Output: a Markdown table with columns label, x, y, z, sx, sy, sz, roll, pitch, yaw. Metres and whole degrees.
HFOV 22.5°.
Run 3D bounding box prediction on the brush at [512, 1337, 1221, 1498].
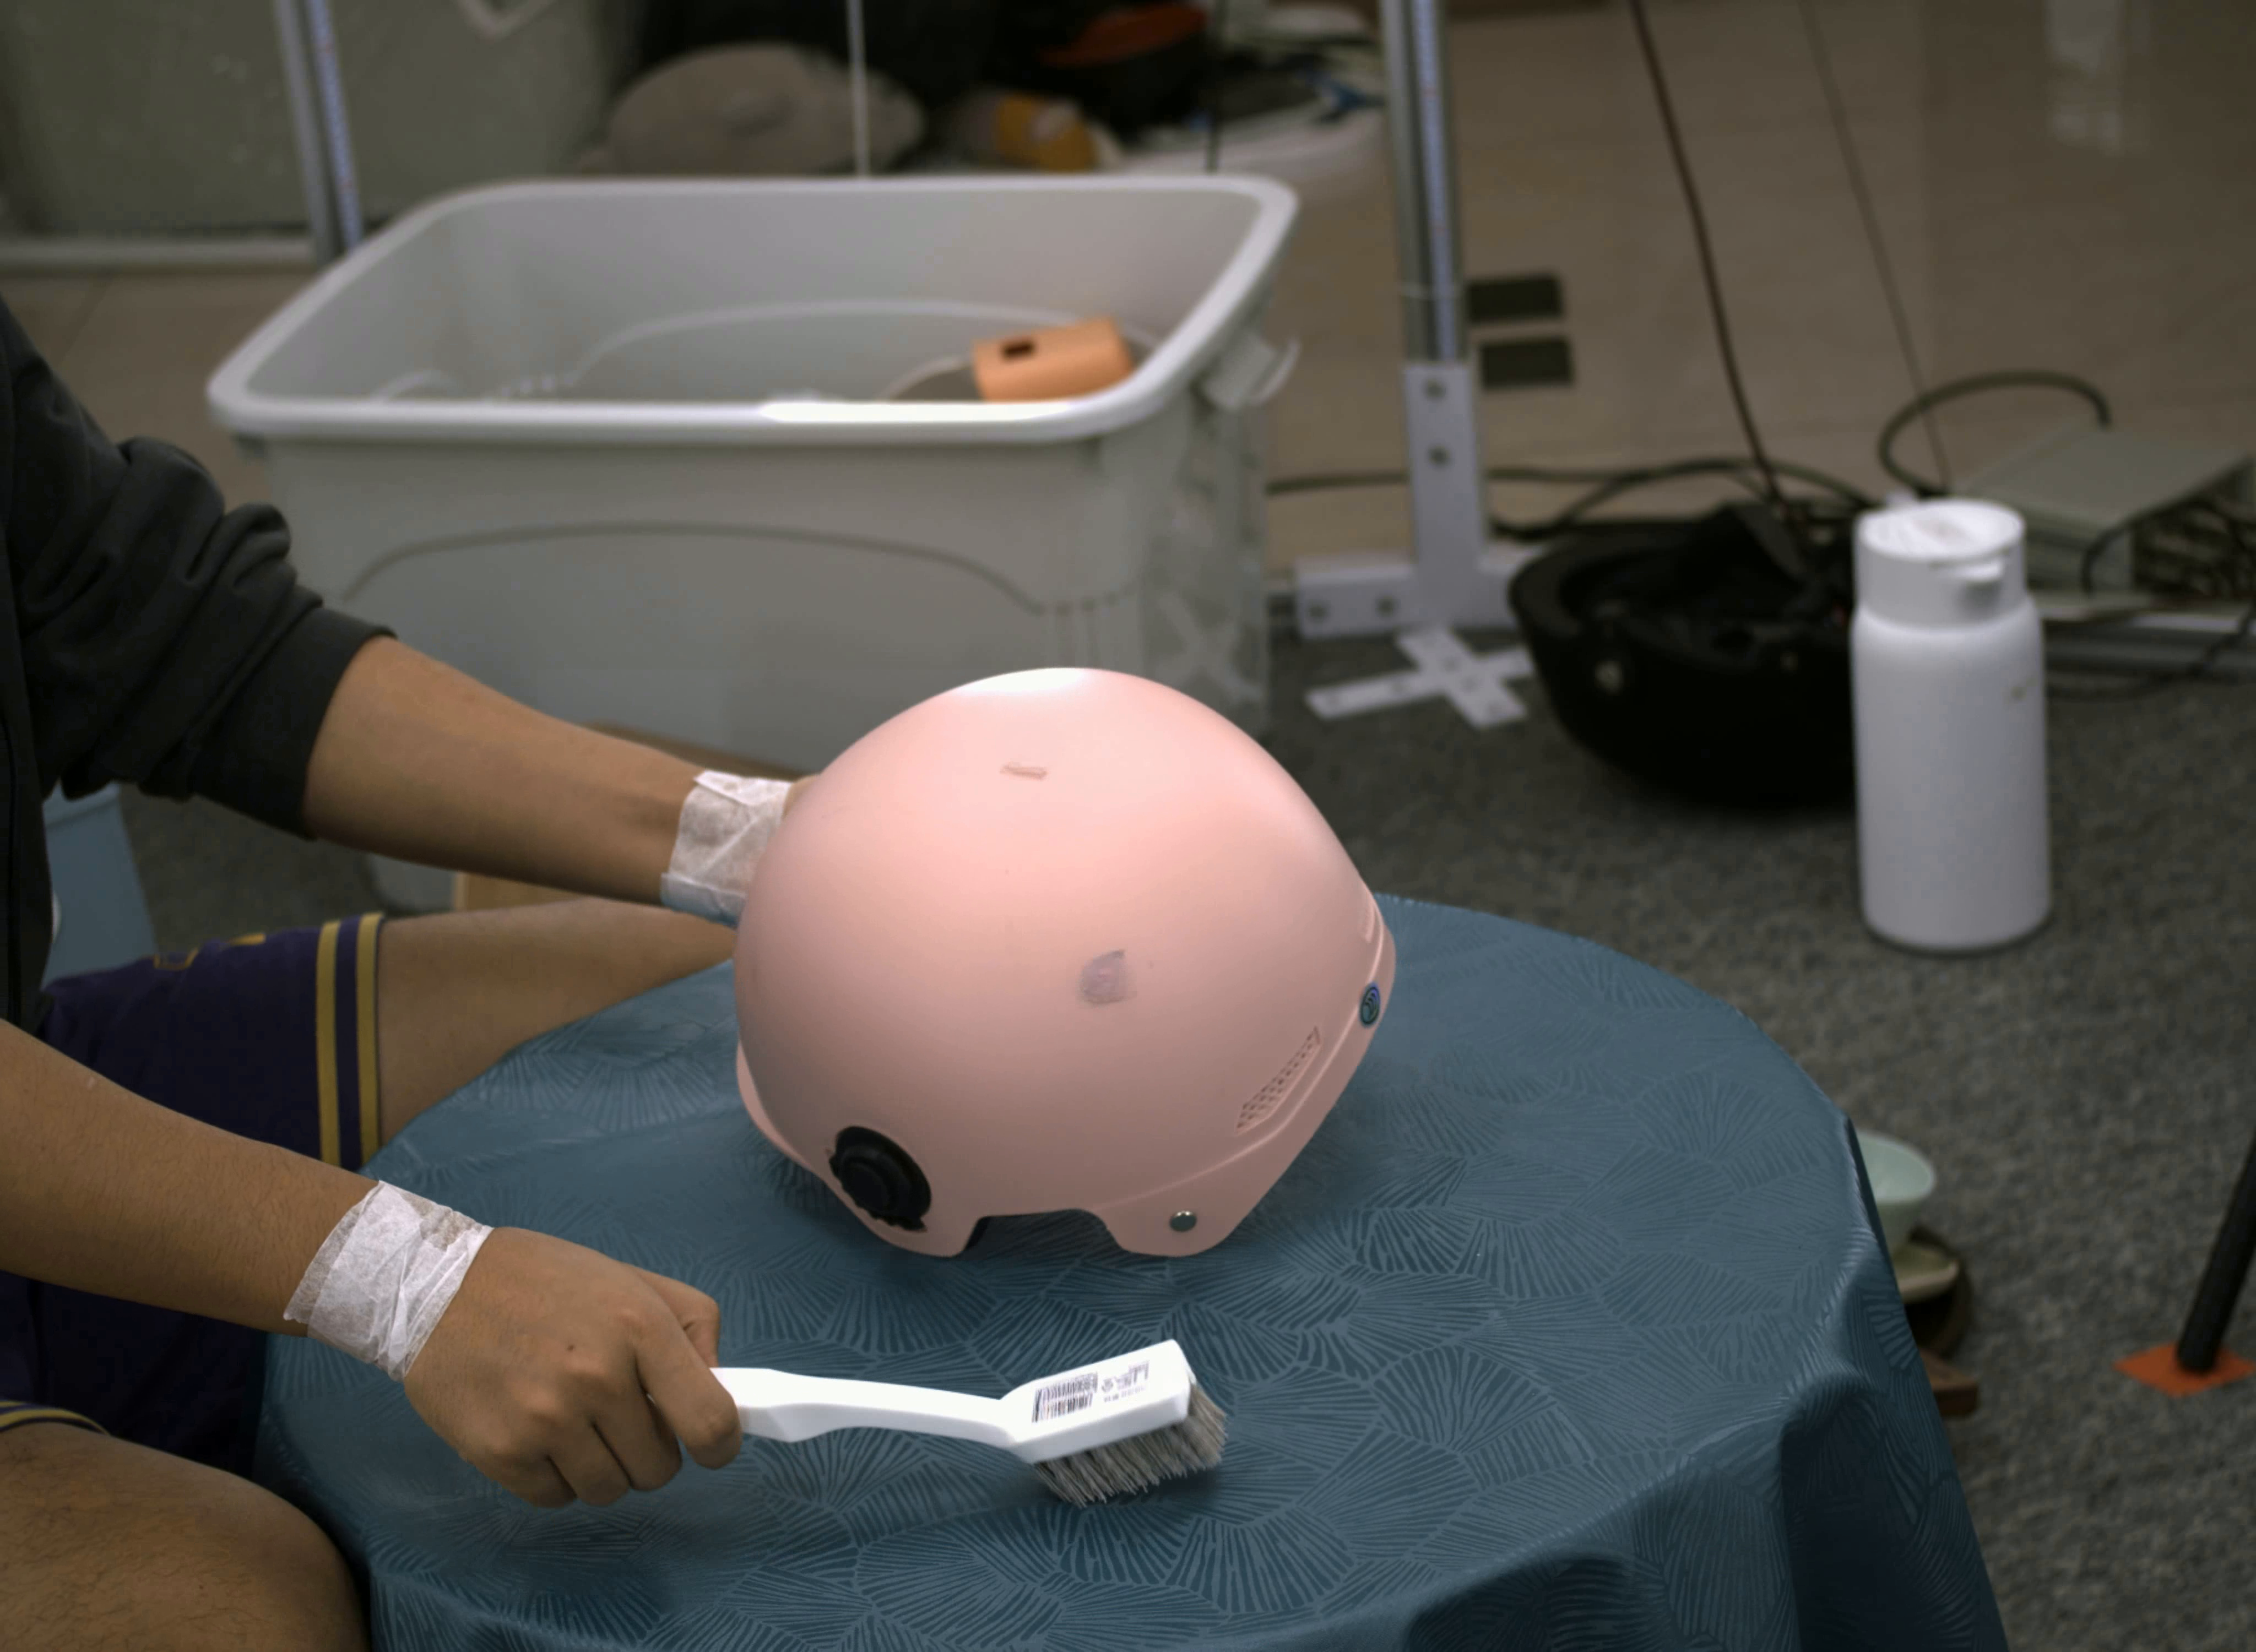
| label | x | y | z | sx | sy | sz | roll | pitch | yaw |
| --- | --- | --- | --- | --- | --- | --- | --- | --- | --- |
| brush | -0.089 | 0.209 | 1.953 | 0.243 | 0.051 | 0.034 | -4 | 40 | 6 |

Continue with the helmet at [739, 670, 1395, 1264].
| label | x | y | z | sx | sy | sz | roll | pitch | yaw |
| --- | --- | --- | --- | --- | --- | --- | --- | --- | --- |
| helmet | -0.039 | 0.033 | 2.131 | 0.265 | 0.162 | 0.230 | 4 | 48 | 27 |
